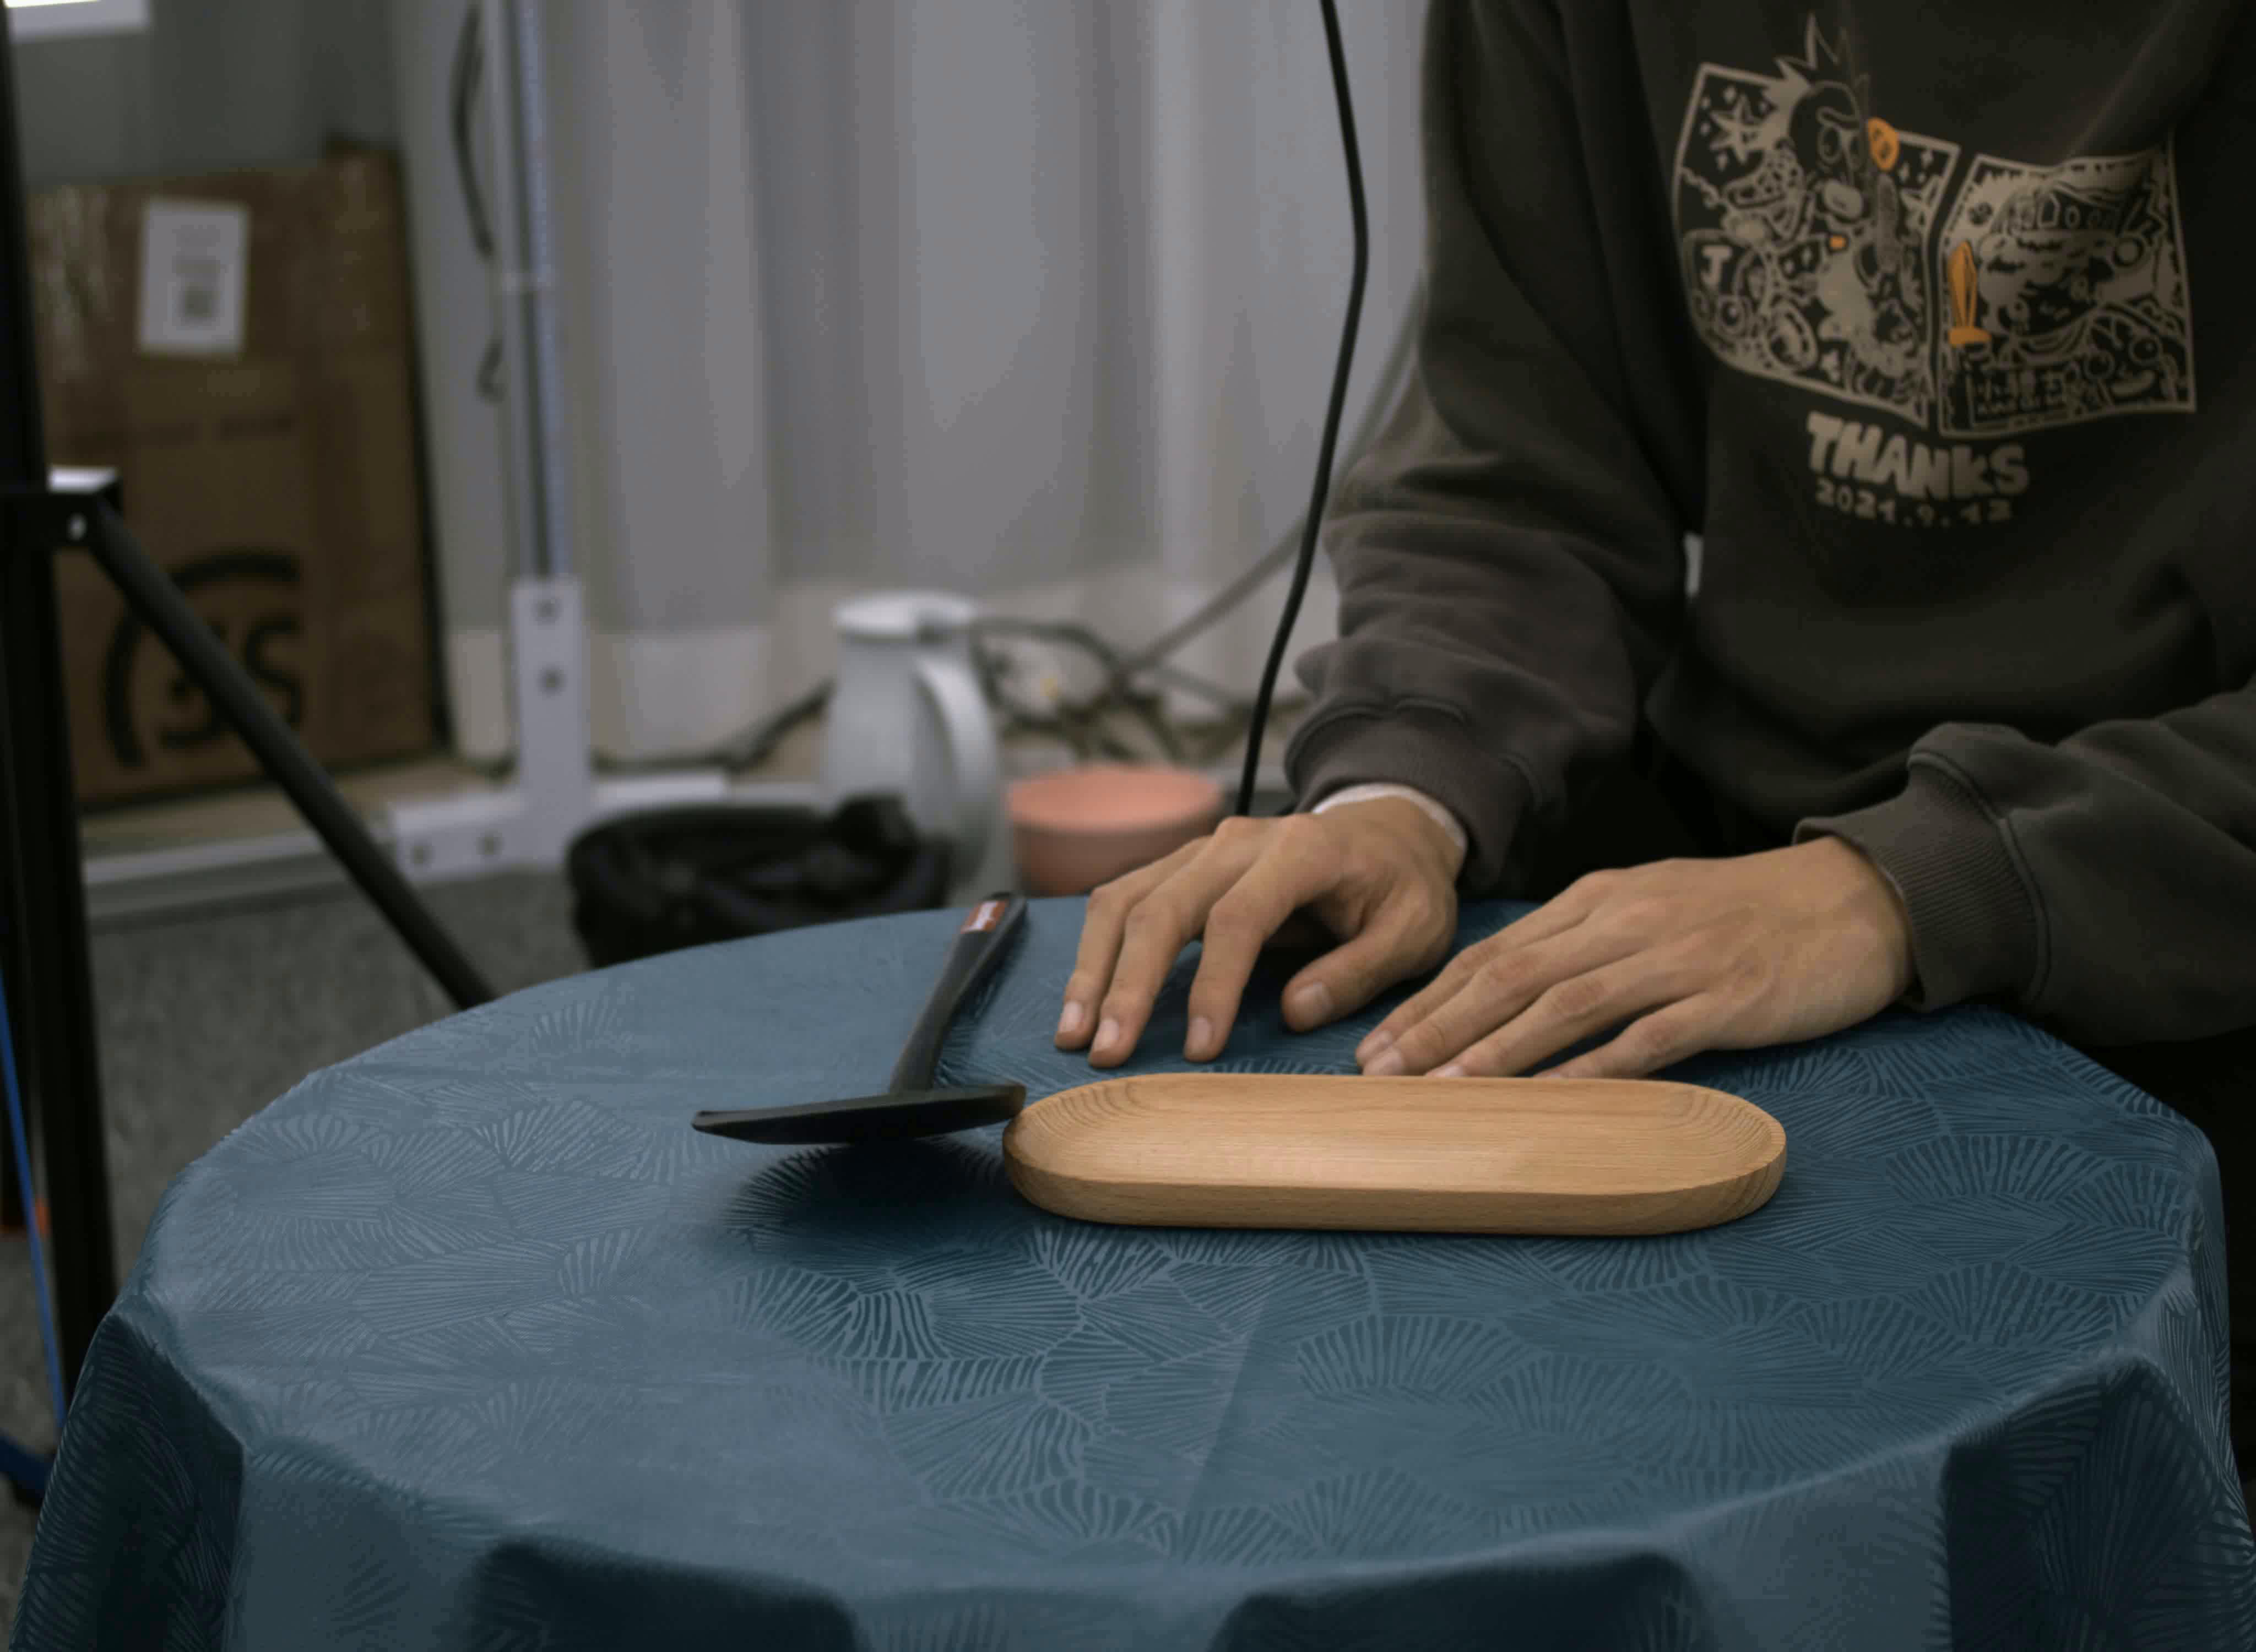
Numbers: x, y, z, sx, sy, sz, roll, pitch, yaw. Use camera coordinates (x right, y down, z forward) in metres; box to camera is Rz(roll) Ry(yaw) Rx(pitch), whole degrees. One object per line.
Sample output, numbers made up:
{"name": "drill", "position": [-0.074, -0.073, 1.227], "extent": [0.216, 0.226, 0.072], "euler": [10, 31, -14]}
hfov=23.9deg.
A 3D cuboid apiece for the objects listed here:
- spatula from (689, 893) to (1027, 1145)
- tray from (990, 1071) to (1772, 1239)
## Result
{"name": "spatula", "position": [-0.063, 0.056, 1.689], "extent": [0.100, 0.040, 0.326], "euler": [-6, 15, 8]}
{"name": "tray", "position": [0.074, 0.097, 1.559], "extent": [0.232, 0.020, 0.101], "euler": [0, 16, 13]}
